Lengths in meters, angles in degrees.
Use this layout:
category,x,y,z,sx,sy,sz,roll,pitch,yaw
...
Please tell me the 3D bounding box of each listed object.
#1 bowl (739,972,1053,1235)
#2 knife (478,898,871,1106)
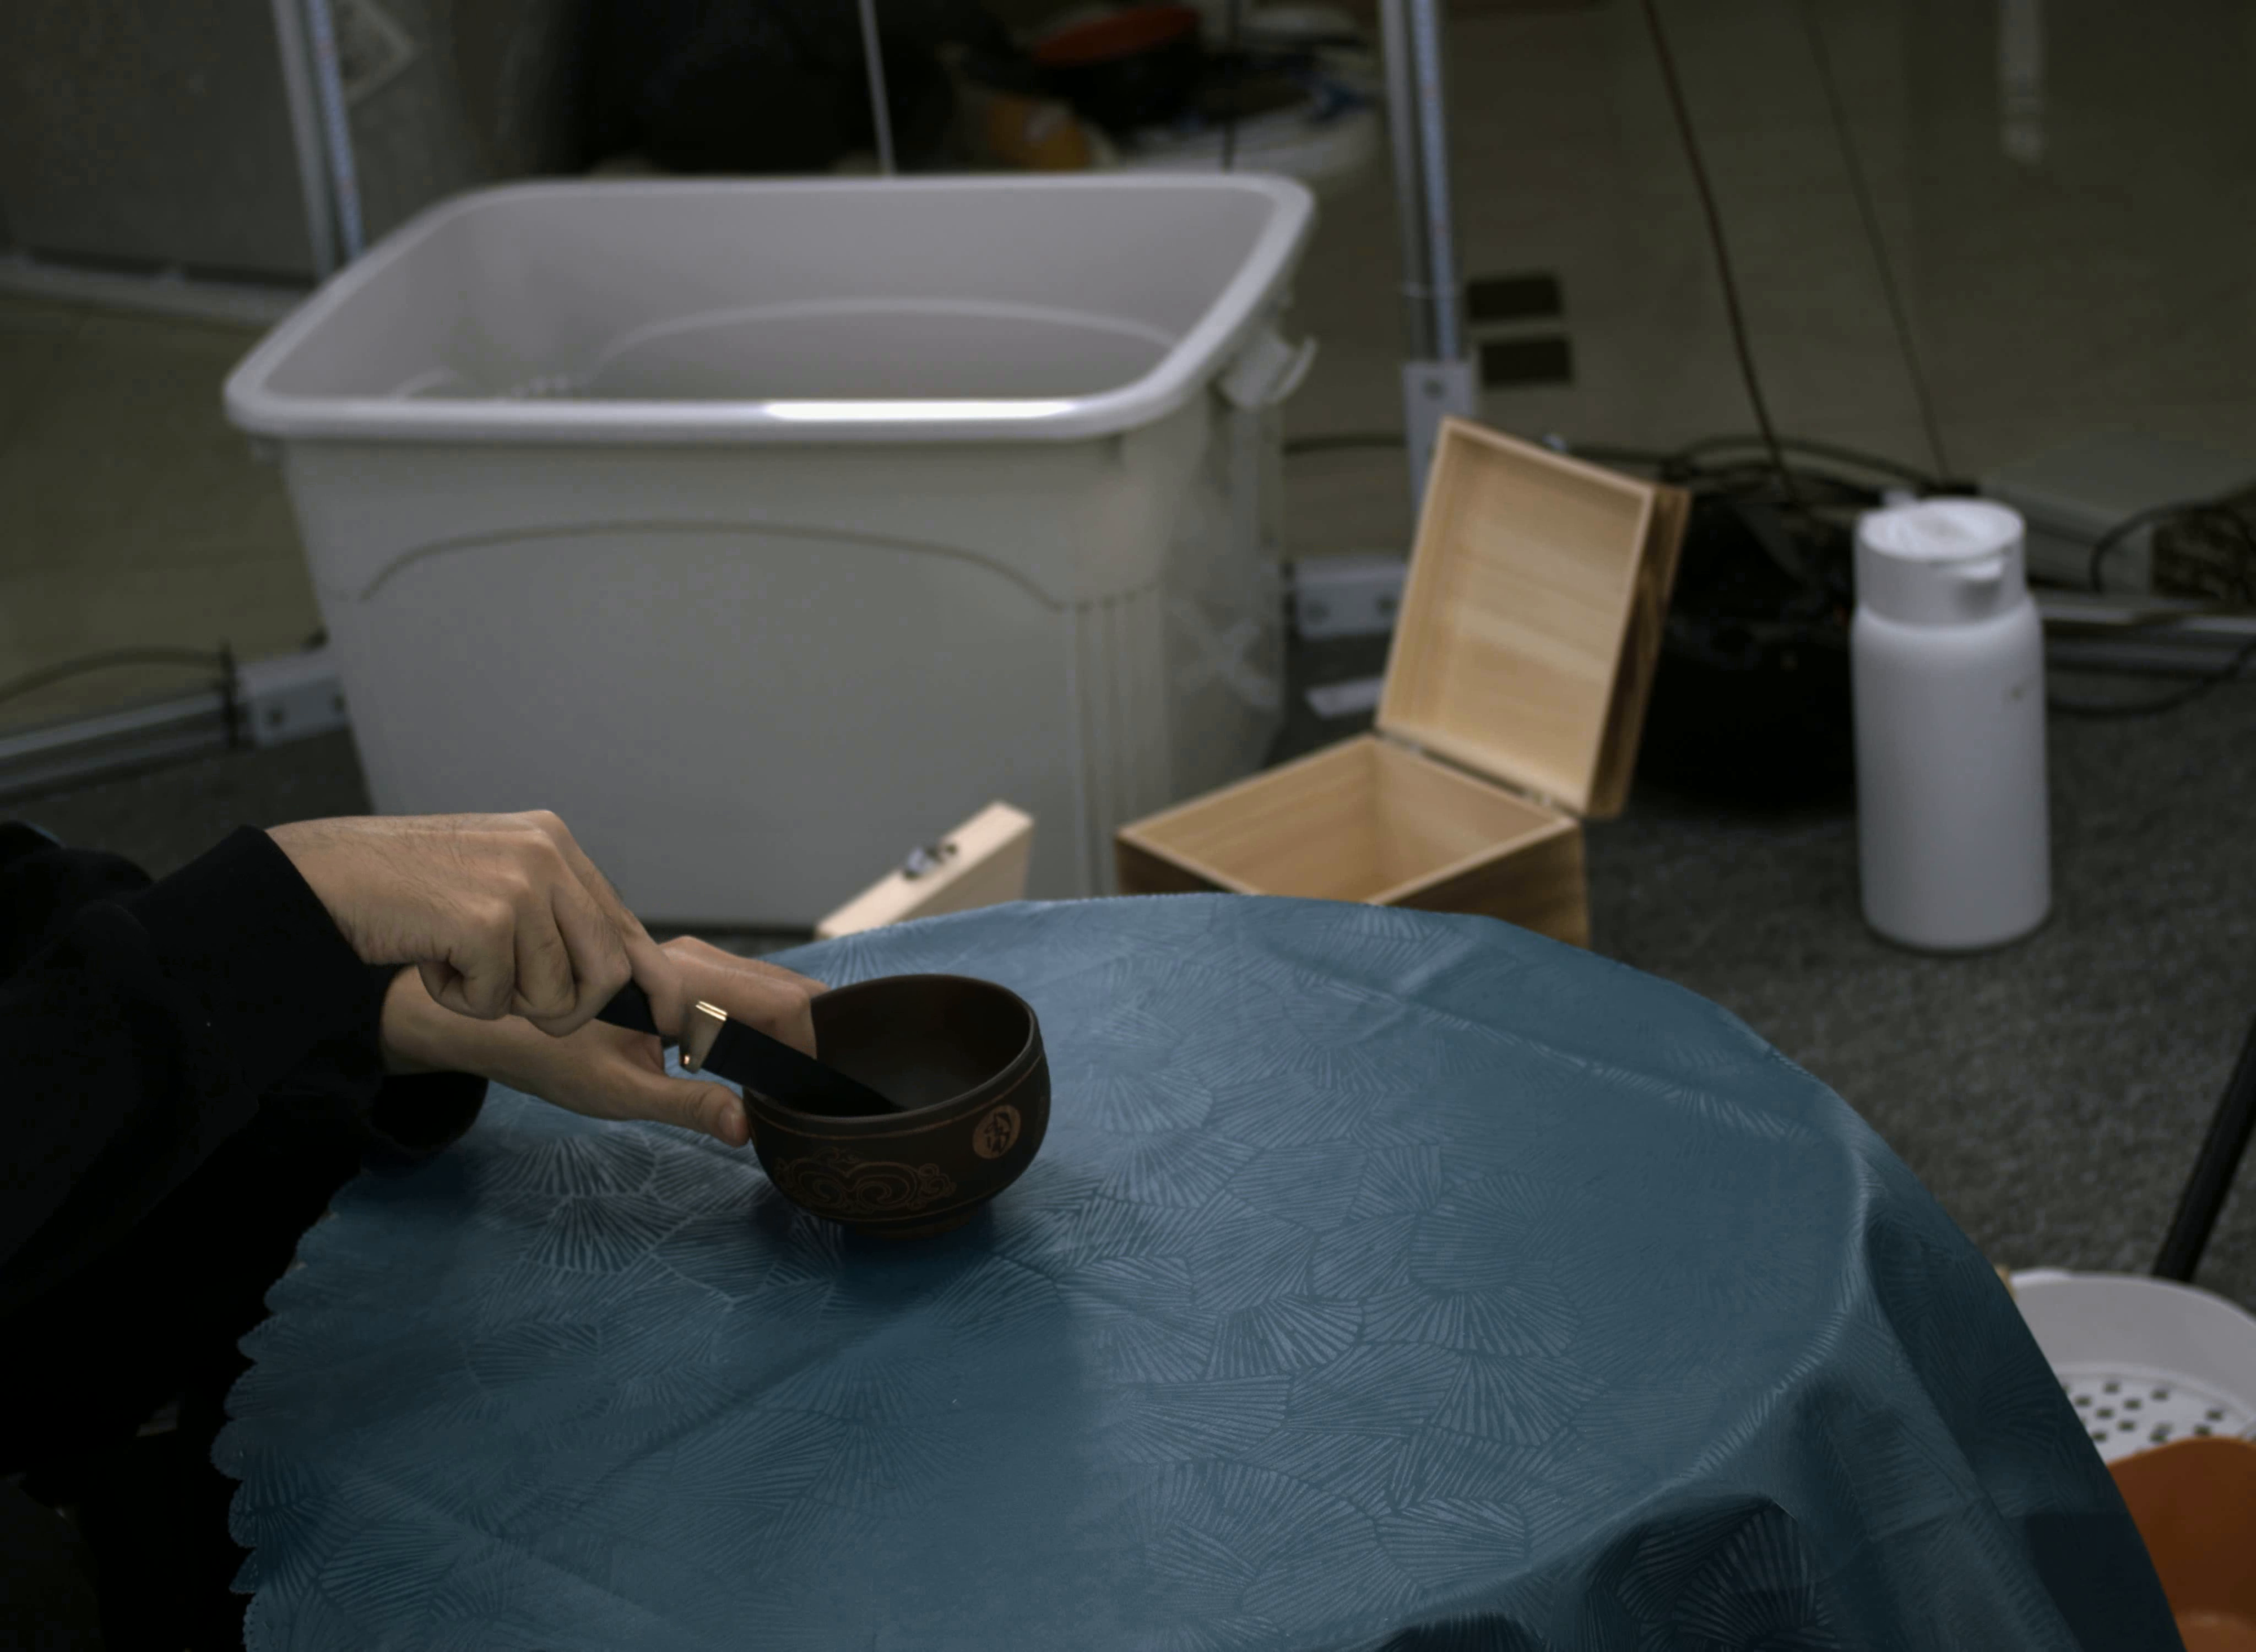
category,x,y,z,sx,sy,sz,roll,pitch,yaw
bowl,-0.085,0.111,2.136,0.118,0.071,0.116,-8,24,4
knife,-0.150,0.080,2.082,0.227,0.026,0.017,30,-11,-33
